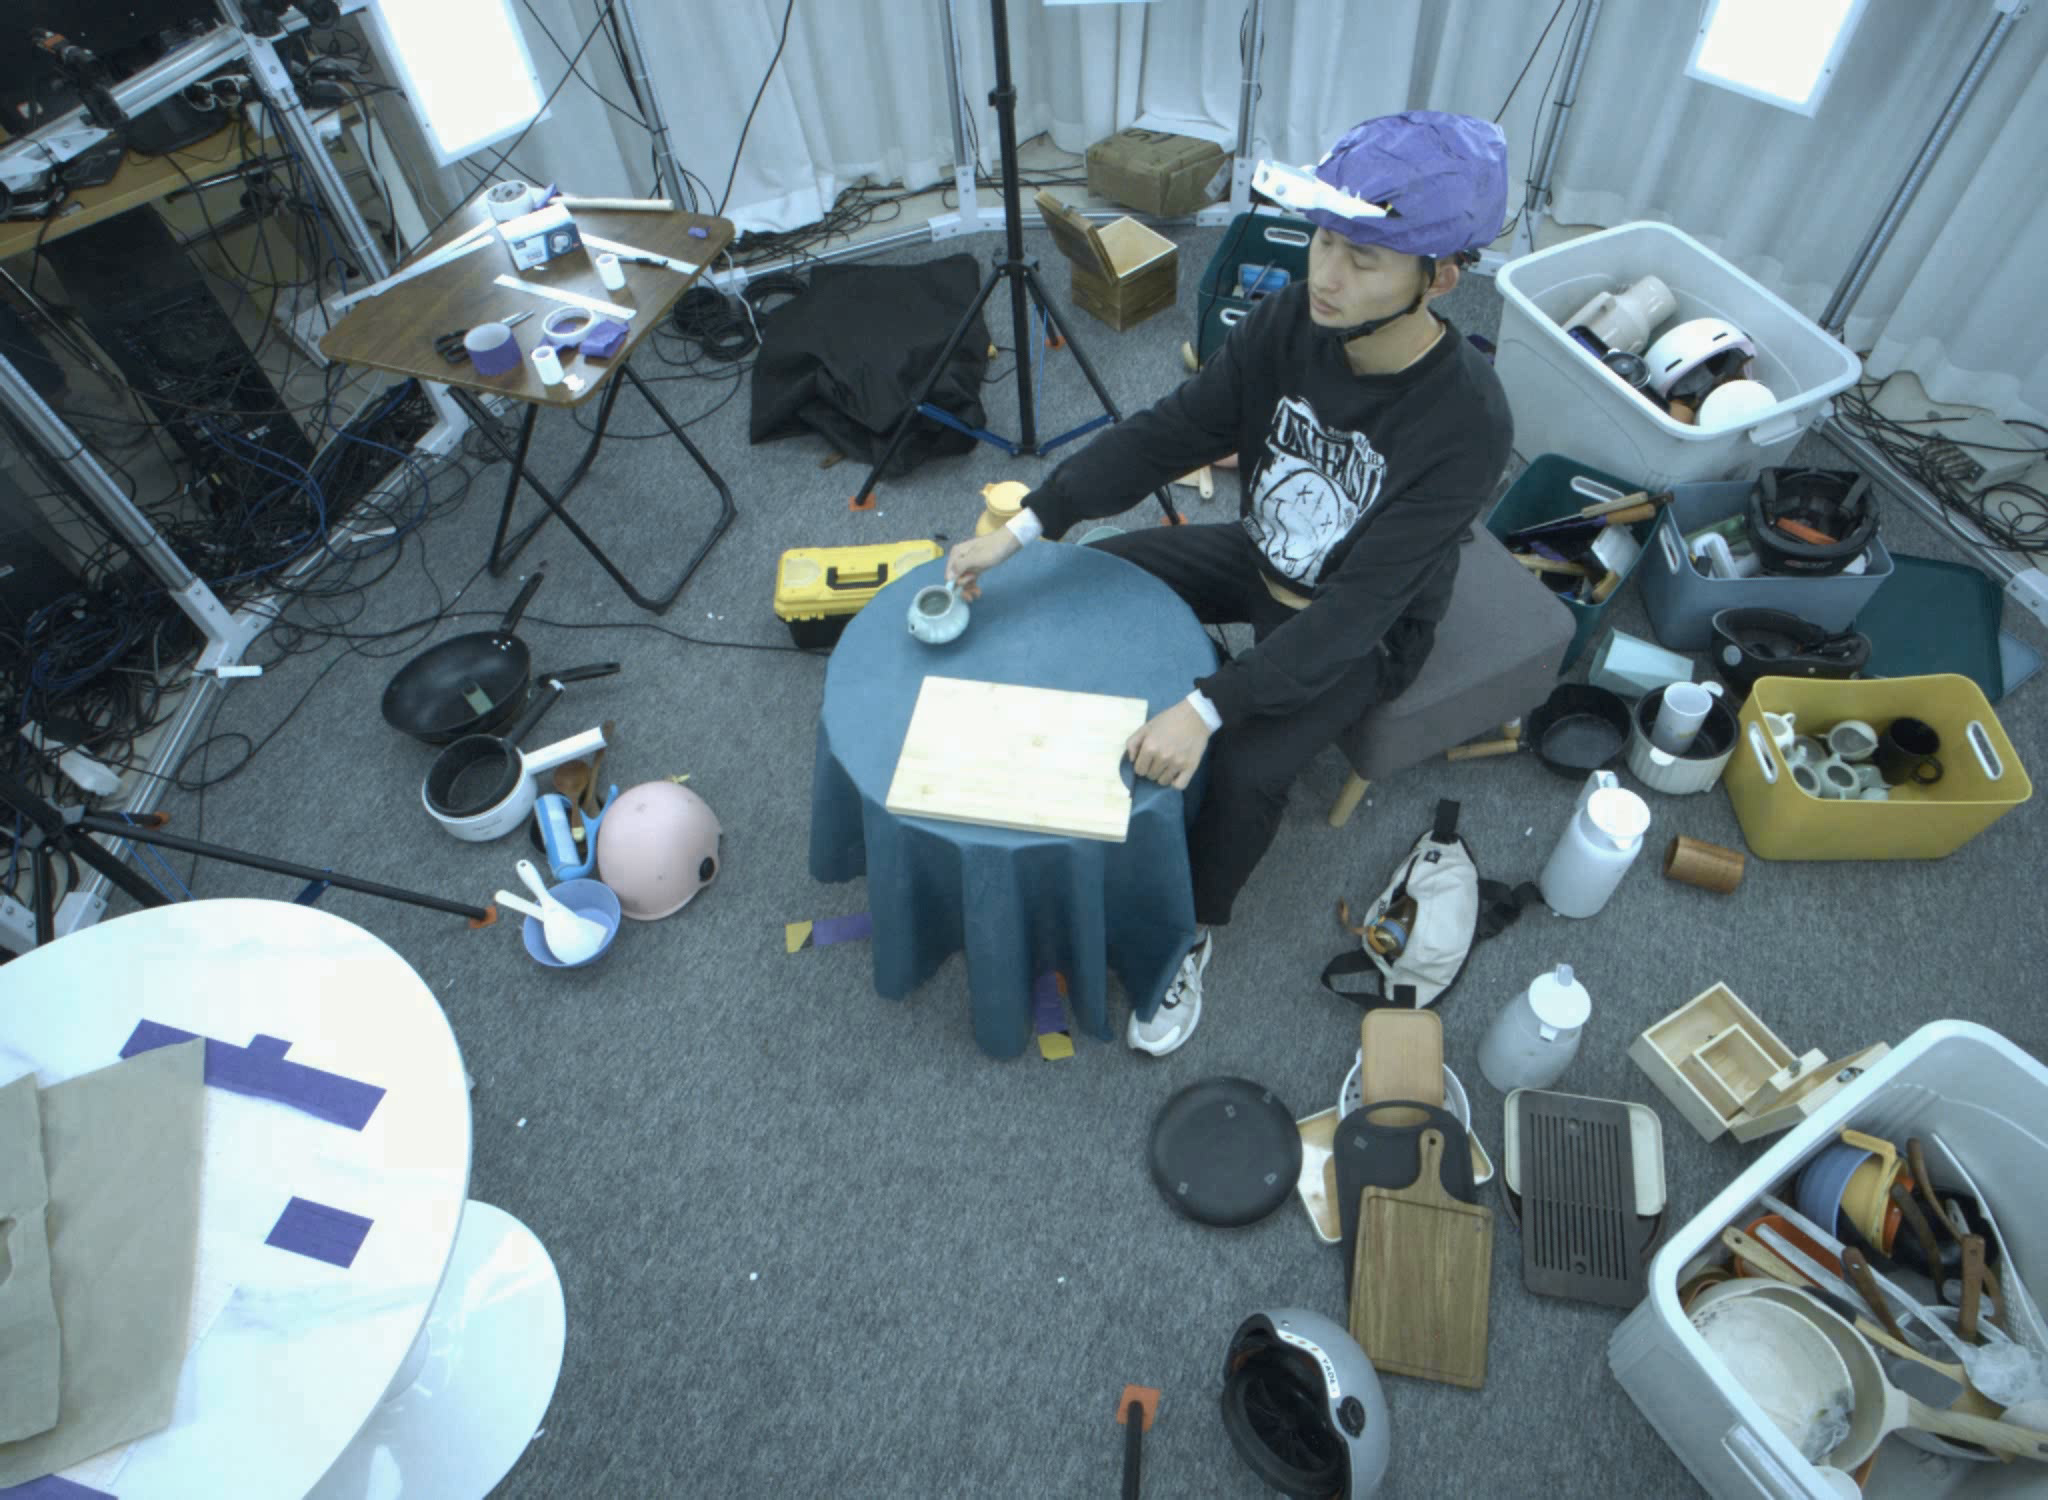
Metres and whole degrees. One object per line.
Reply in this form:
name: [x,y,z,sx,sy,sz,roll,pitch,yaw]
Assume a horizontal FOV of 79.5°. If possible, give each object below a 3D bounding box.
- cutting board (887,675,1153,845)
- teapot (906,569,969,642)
cutting board: [-0.001,0.009,1.767,0.347,0.024,0.249,6,55,6]
teapot: [-0.134,-0.218,1.884,0.095,0.062,0.137,25,67,19]
